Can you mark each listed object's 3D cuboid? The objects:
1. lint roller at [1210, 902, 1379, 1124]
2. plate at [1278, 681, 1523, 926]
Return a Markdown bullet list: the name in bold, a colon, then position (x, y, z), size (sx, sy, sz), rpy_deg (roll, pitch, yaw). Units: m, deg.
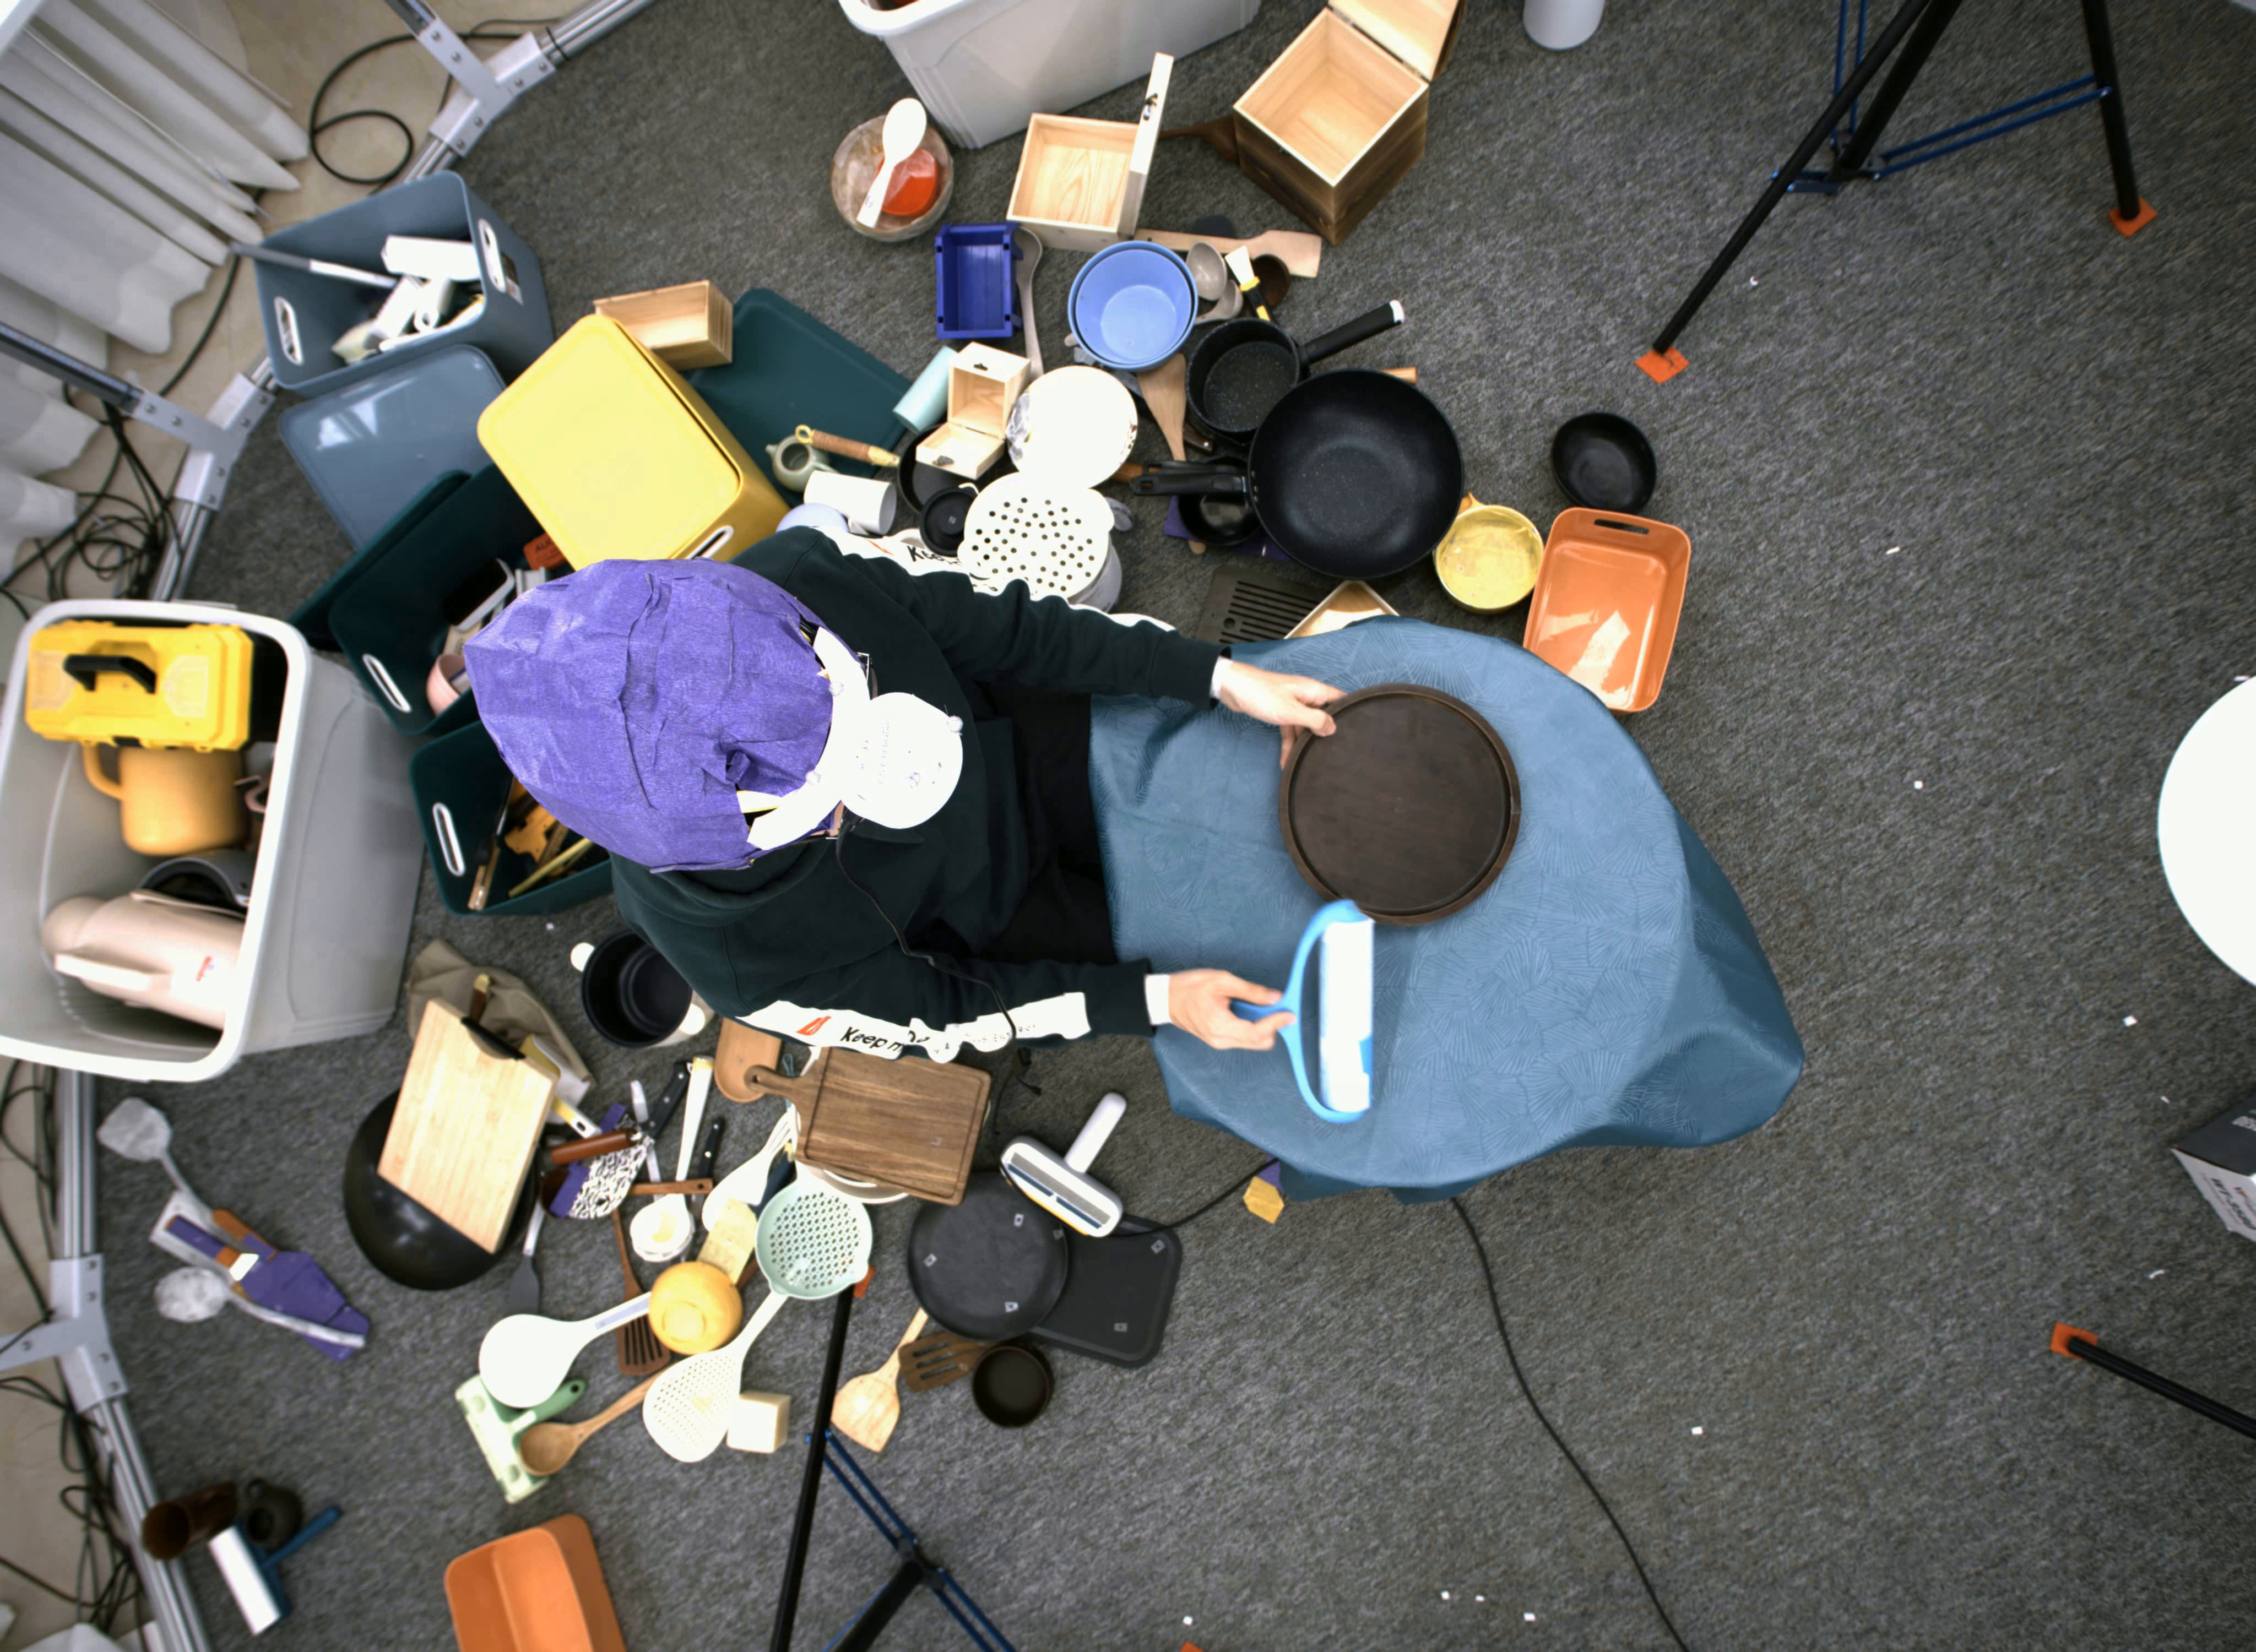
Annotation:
- **lint roller**: position (0.168, 0.191, 1.413), size (0.181, 0.067, 0.230), rpy_deg (-2, 100, 14)
- **plate**: position (0.281, -0.025, 1.428), size (0.255, 0.029, 0.255), rpy_deg (0, 92, 1)
